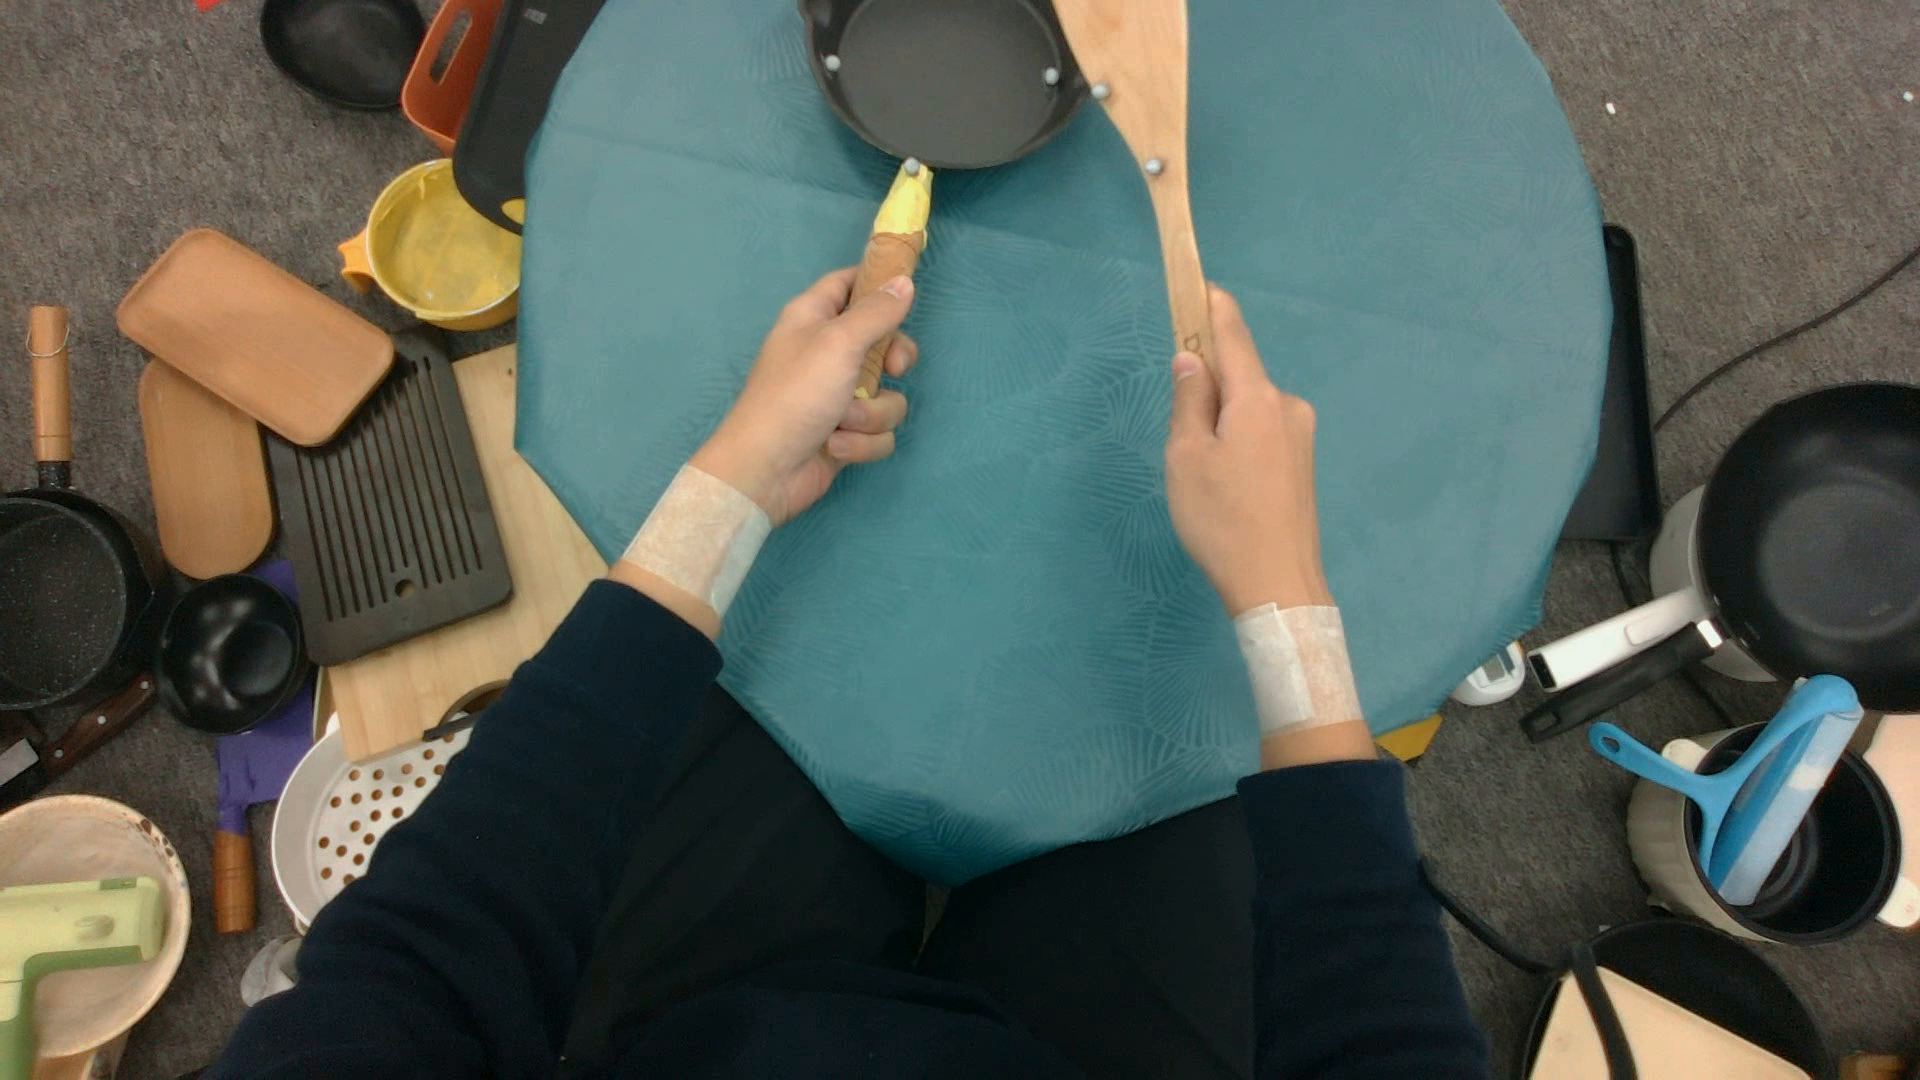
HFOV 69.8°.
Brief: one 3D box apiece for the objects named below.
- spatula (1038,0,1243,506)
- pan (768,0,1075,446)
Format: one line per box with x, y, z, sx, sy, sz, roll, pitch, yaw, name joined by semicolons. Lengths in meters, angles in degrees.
0.090;-0.174;0.670;0.016;0.079;0.328;2;74;-46;spatula
-0.041;-0.194;0.720;0.169;0.049;0.325;15;72;-1;pan
